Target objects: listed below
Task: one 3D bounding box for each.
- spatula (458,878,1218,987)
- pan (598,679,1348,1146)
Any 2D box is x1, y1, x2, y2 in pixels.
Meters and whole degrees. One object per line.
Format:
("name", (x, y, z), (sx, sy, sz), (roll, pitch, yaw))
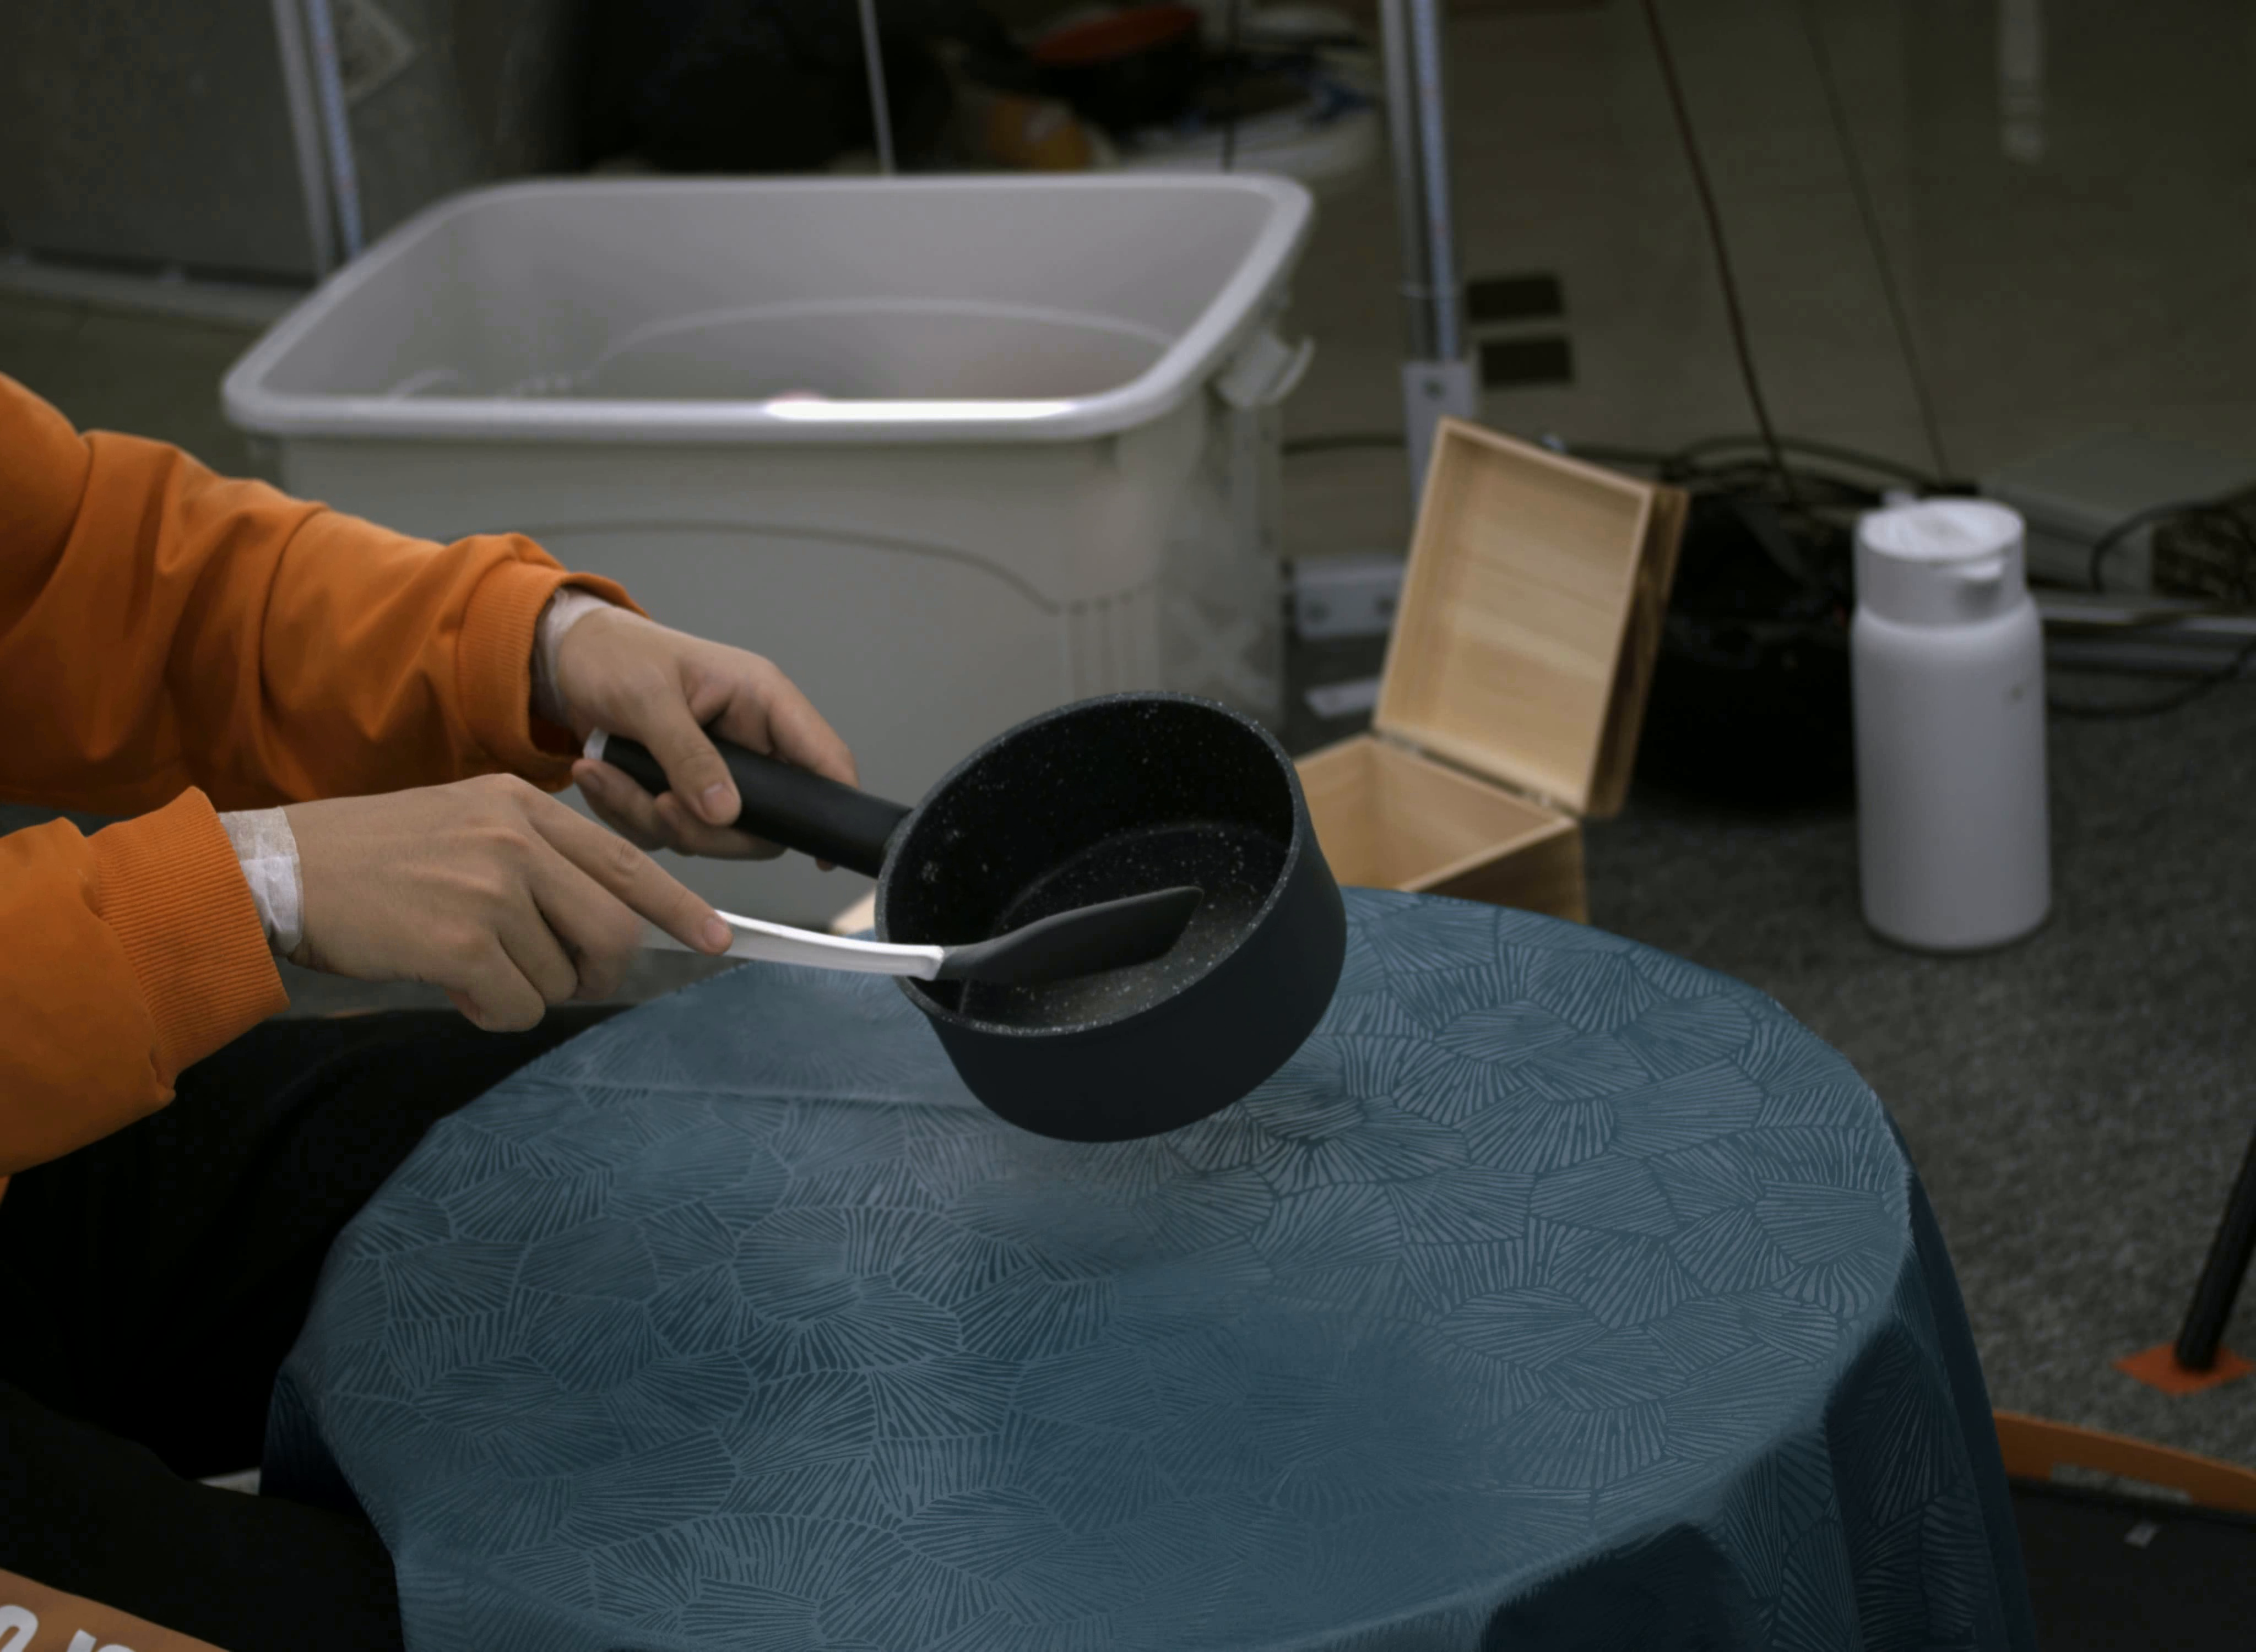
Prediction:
("spatula", (-0.104, 0.039, 2.089), (0.287, 0.059, 0.031), (2, 51, -21))
("pan", (-0.067, 0.017, 2.197), (0.326, 0.088, 0.170), (17, 59, 34))
